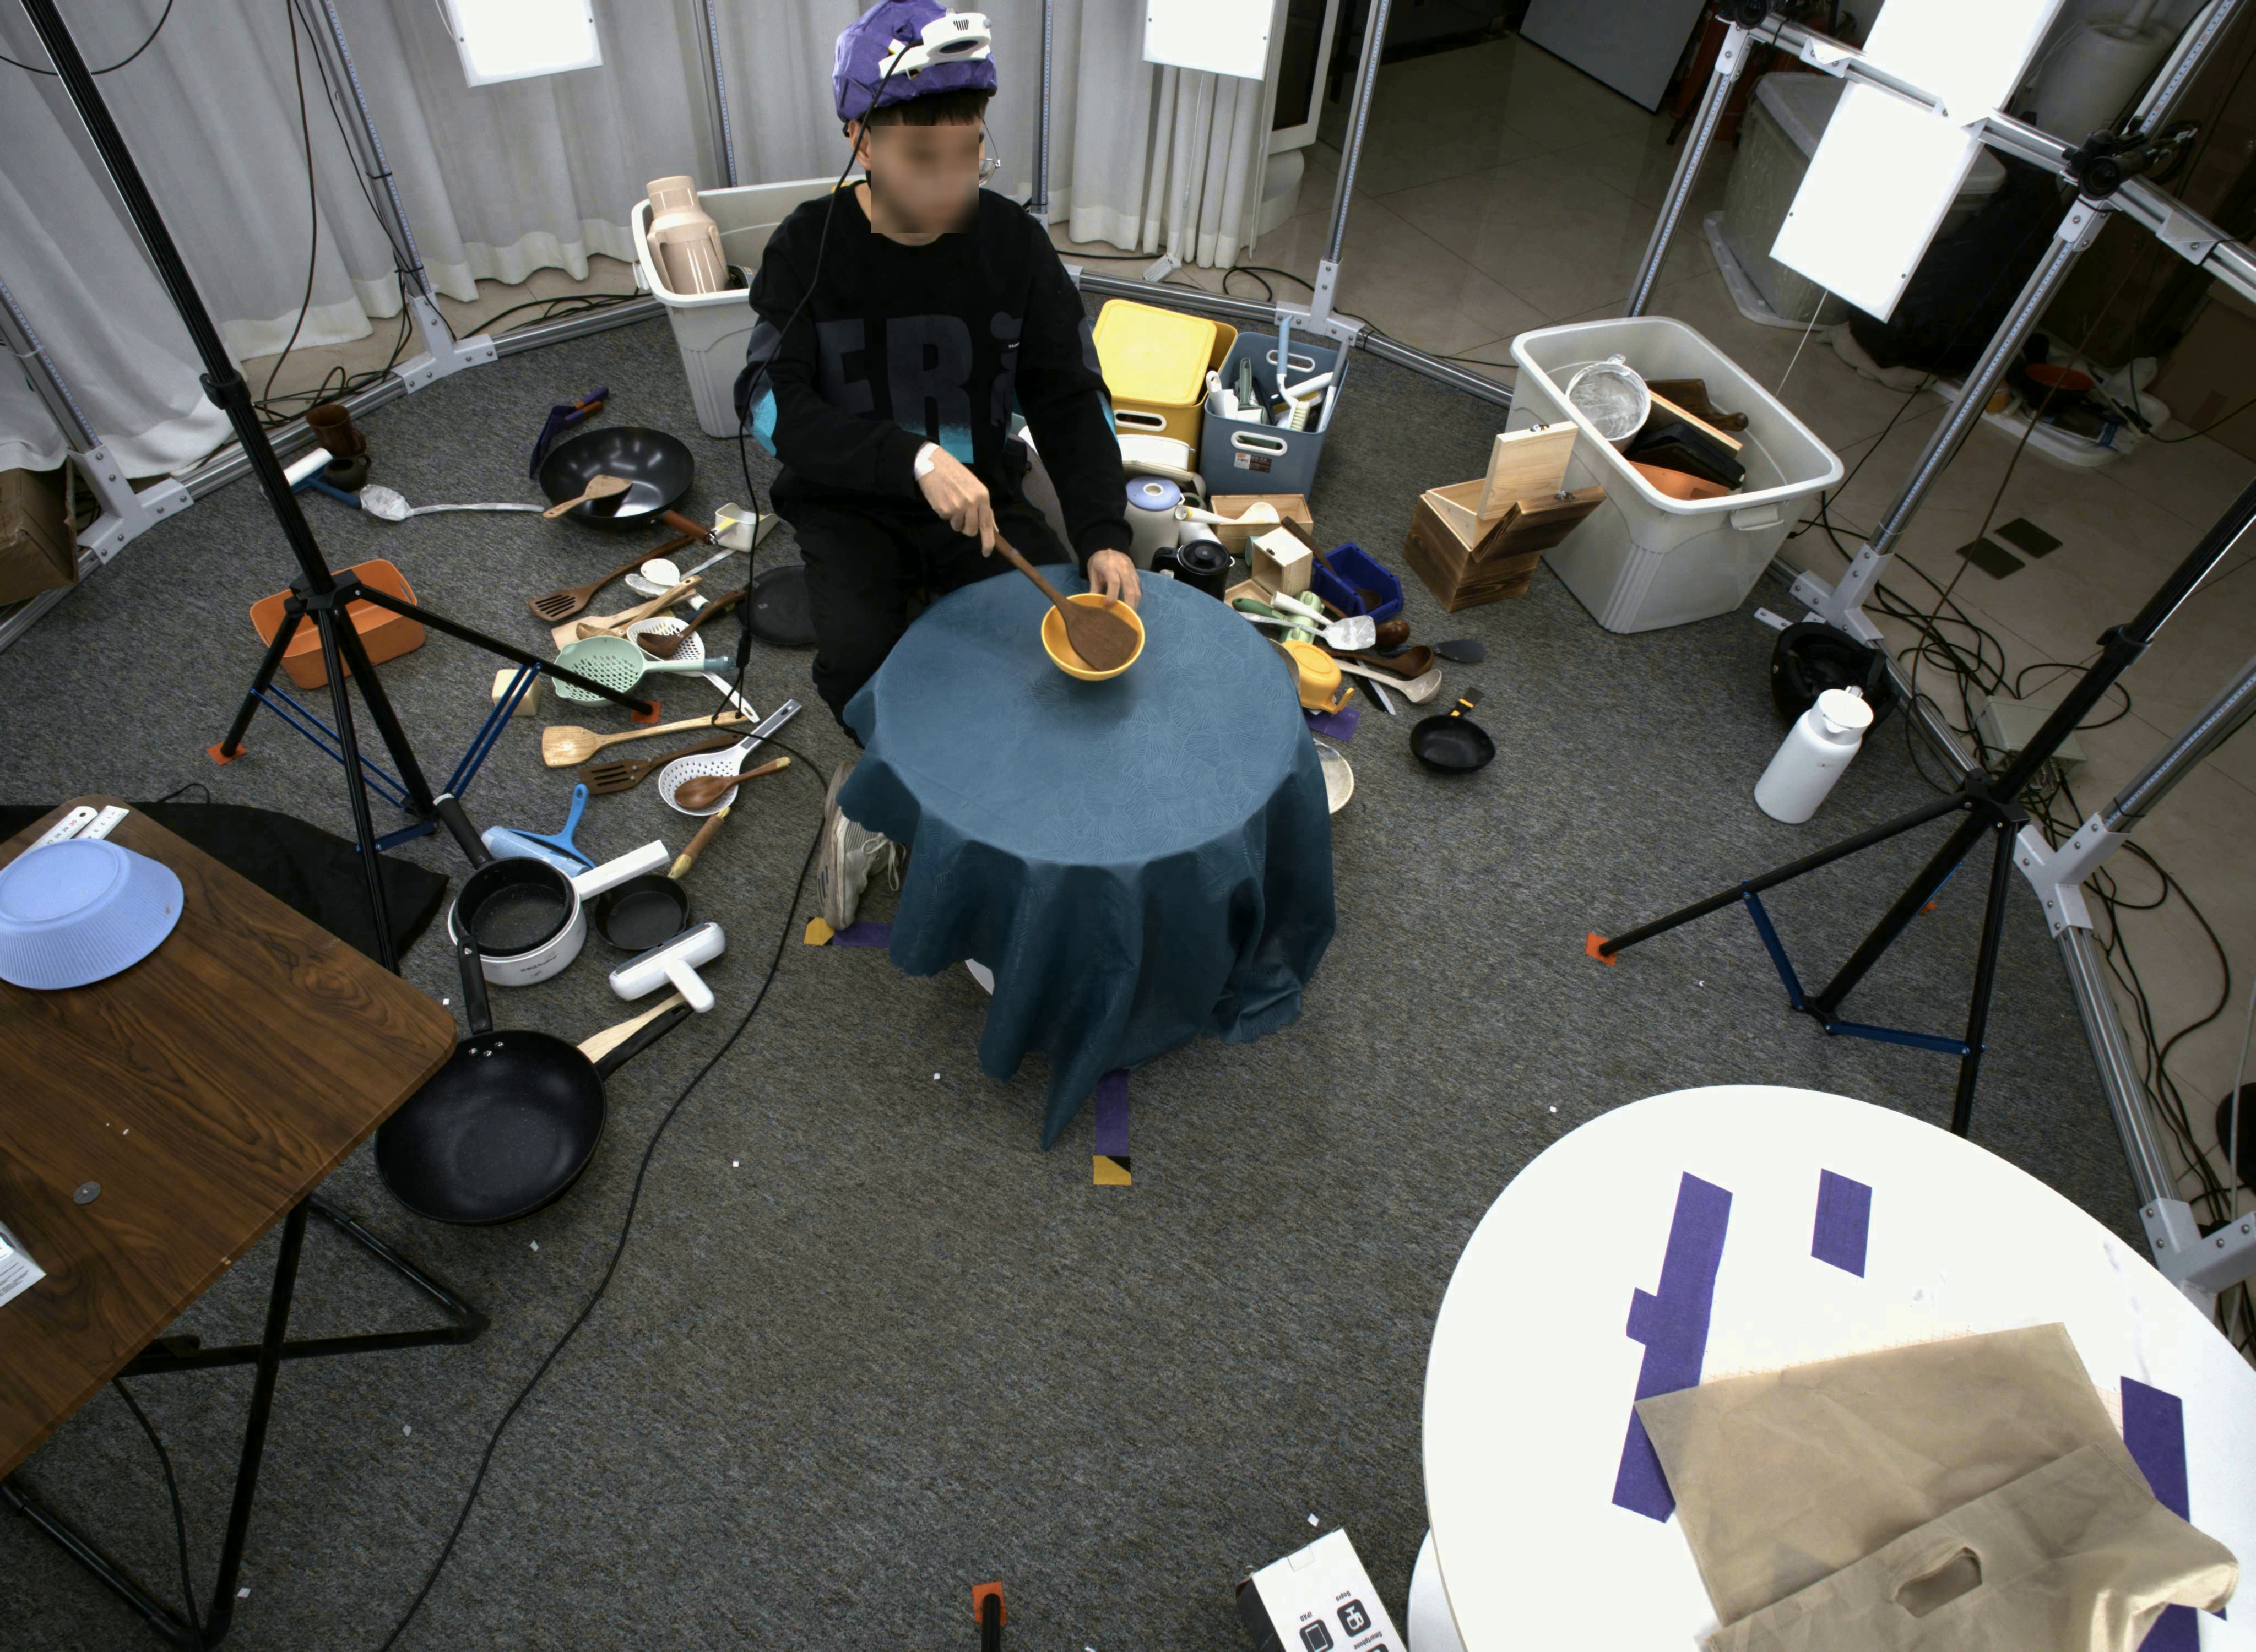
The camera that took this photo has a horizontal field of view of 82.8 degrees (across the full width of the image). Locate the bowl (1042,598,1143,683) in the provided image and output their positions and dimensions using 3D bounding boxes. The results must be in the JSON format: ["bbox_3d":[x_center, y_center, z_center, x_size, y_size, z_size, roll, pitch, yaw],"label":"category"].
[{"bbox_3d":[-0.053,-0.254,1.841,0.145,0.059,0.149,4,55,-6],"label":"bowl"}]

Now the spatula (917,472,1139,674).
[{"bbox_3d":[-0.144,-0.360,1.799,0.385,0.015,0.097,42,60,-4],"label":"spatula"}]
